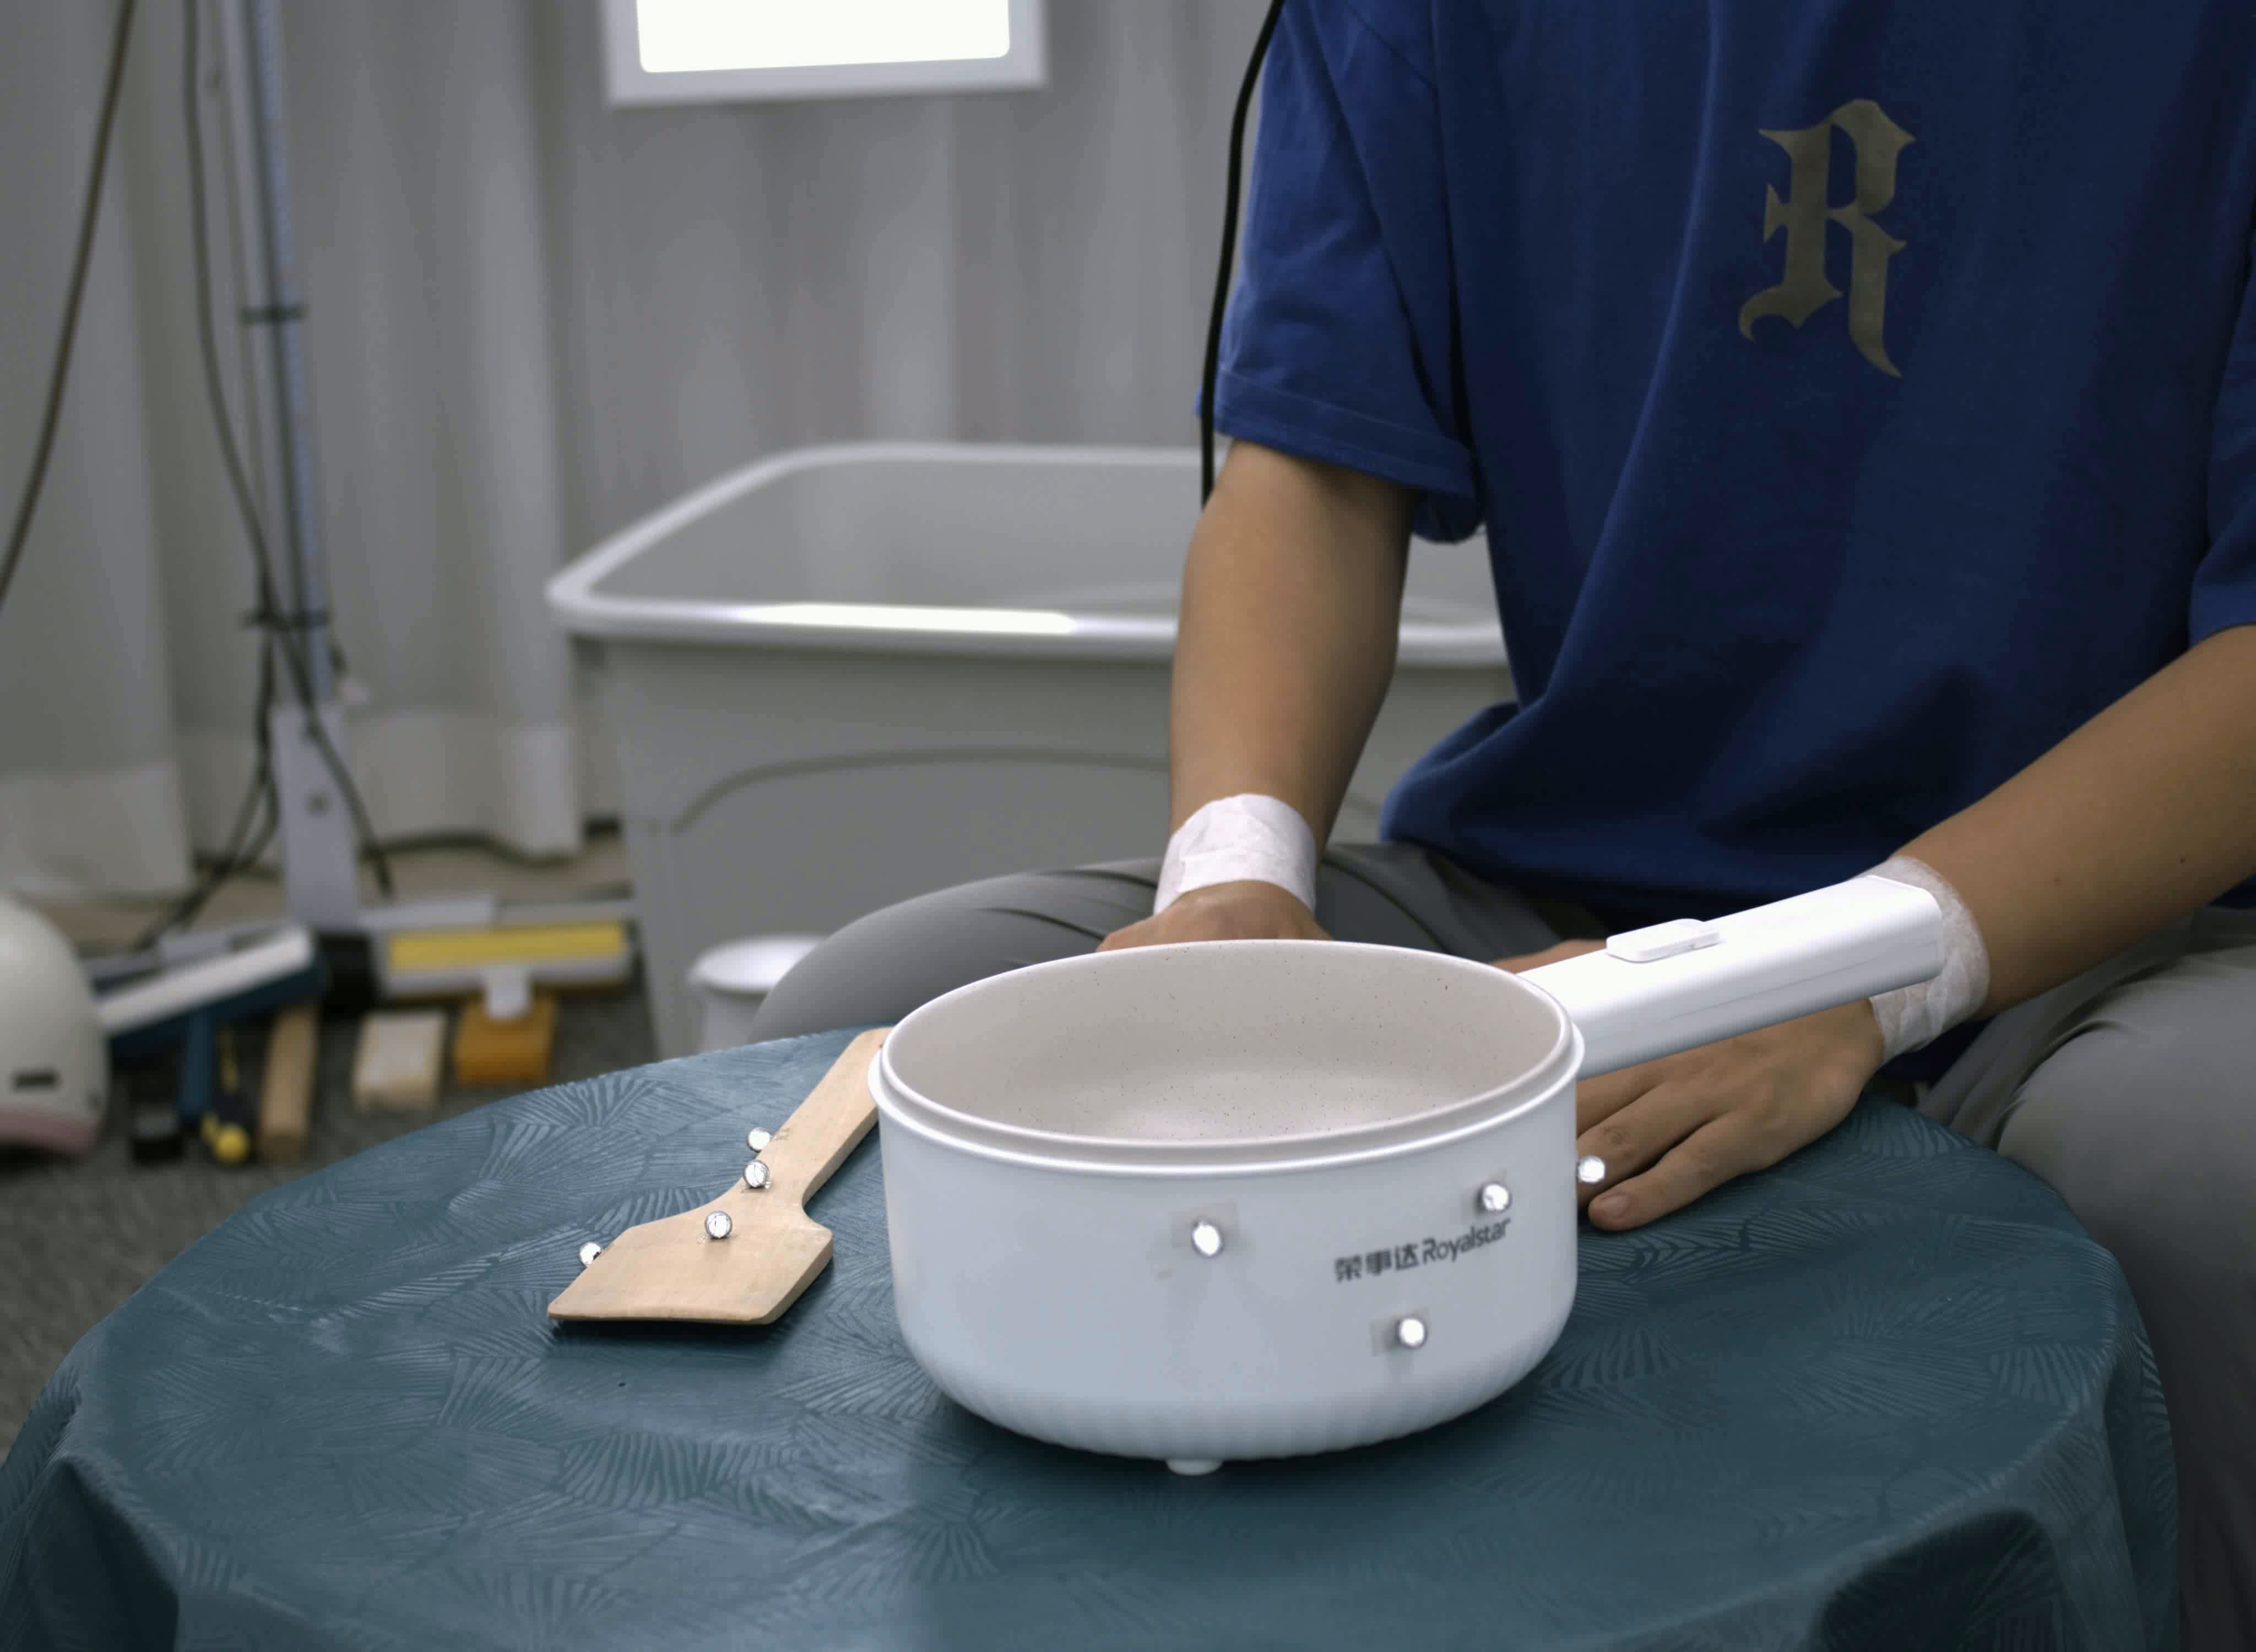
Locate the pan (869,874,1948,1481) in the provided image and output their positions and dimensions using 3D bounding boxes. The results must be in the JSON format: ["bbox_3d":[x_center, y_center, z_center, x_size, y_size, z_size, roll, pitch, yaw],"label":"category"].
[{"bbox_3d":[0.093,0.095,1.581,0.353,0.102,0.202,-13,15,-33],"label":"pan"}]

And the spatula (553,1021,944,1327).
[{"bbox_3d":[-0.107,0.108,1.737,0.072,0.010,0.294,-1,15,13],"label":"spatula"}]
